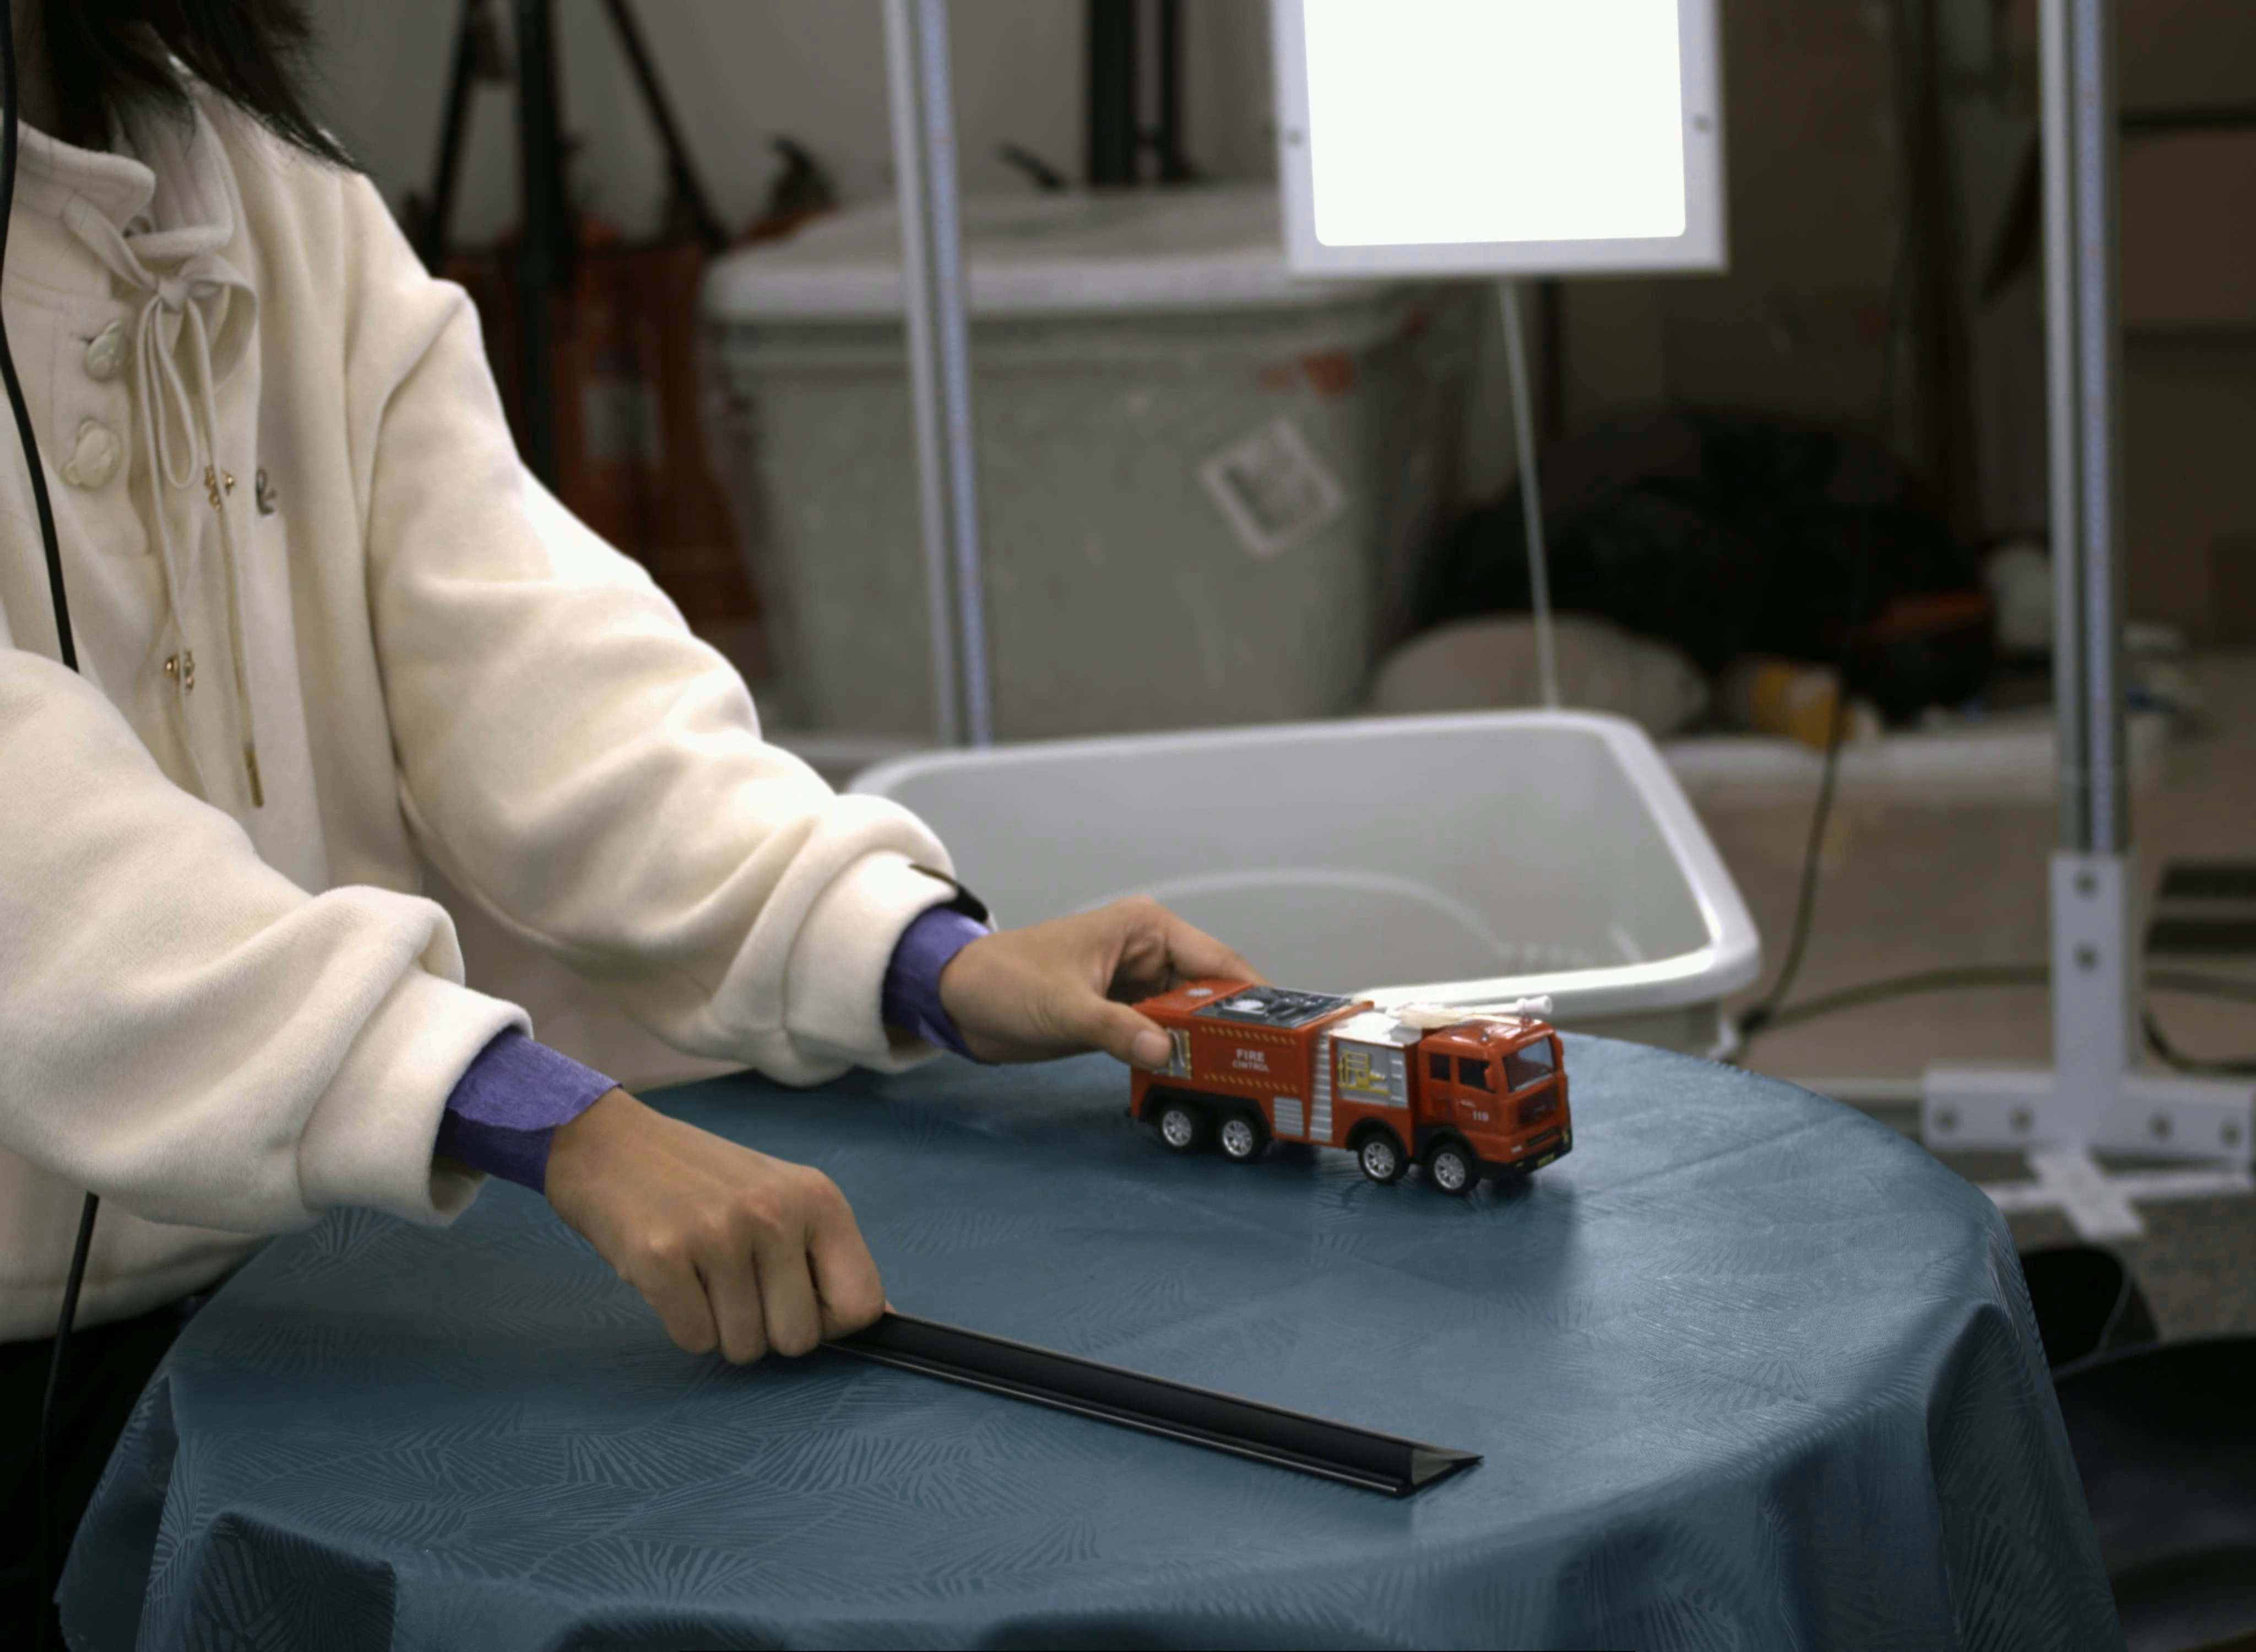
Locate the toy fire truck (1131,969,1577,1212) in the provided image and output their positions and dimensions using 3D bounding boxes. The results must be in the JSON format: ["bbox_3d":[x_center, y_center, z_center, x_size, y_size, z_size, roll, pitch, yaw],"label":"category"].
[{"bbox_3d":[0.078,0.088,1.905,0.171,0.070,0.052,5,16,38],"label":"toy fire truck"}]

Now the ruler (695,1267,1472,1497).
[{"bbox_3d":[-0.020,0.166,1.711,0.038,0.017,0.319,-14,16,-42],"label":"ruler"}]
